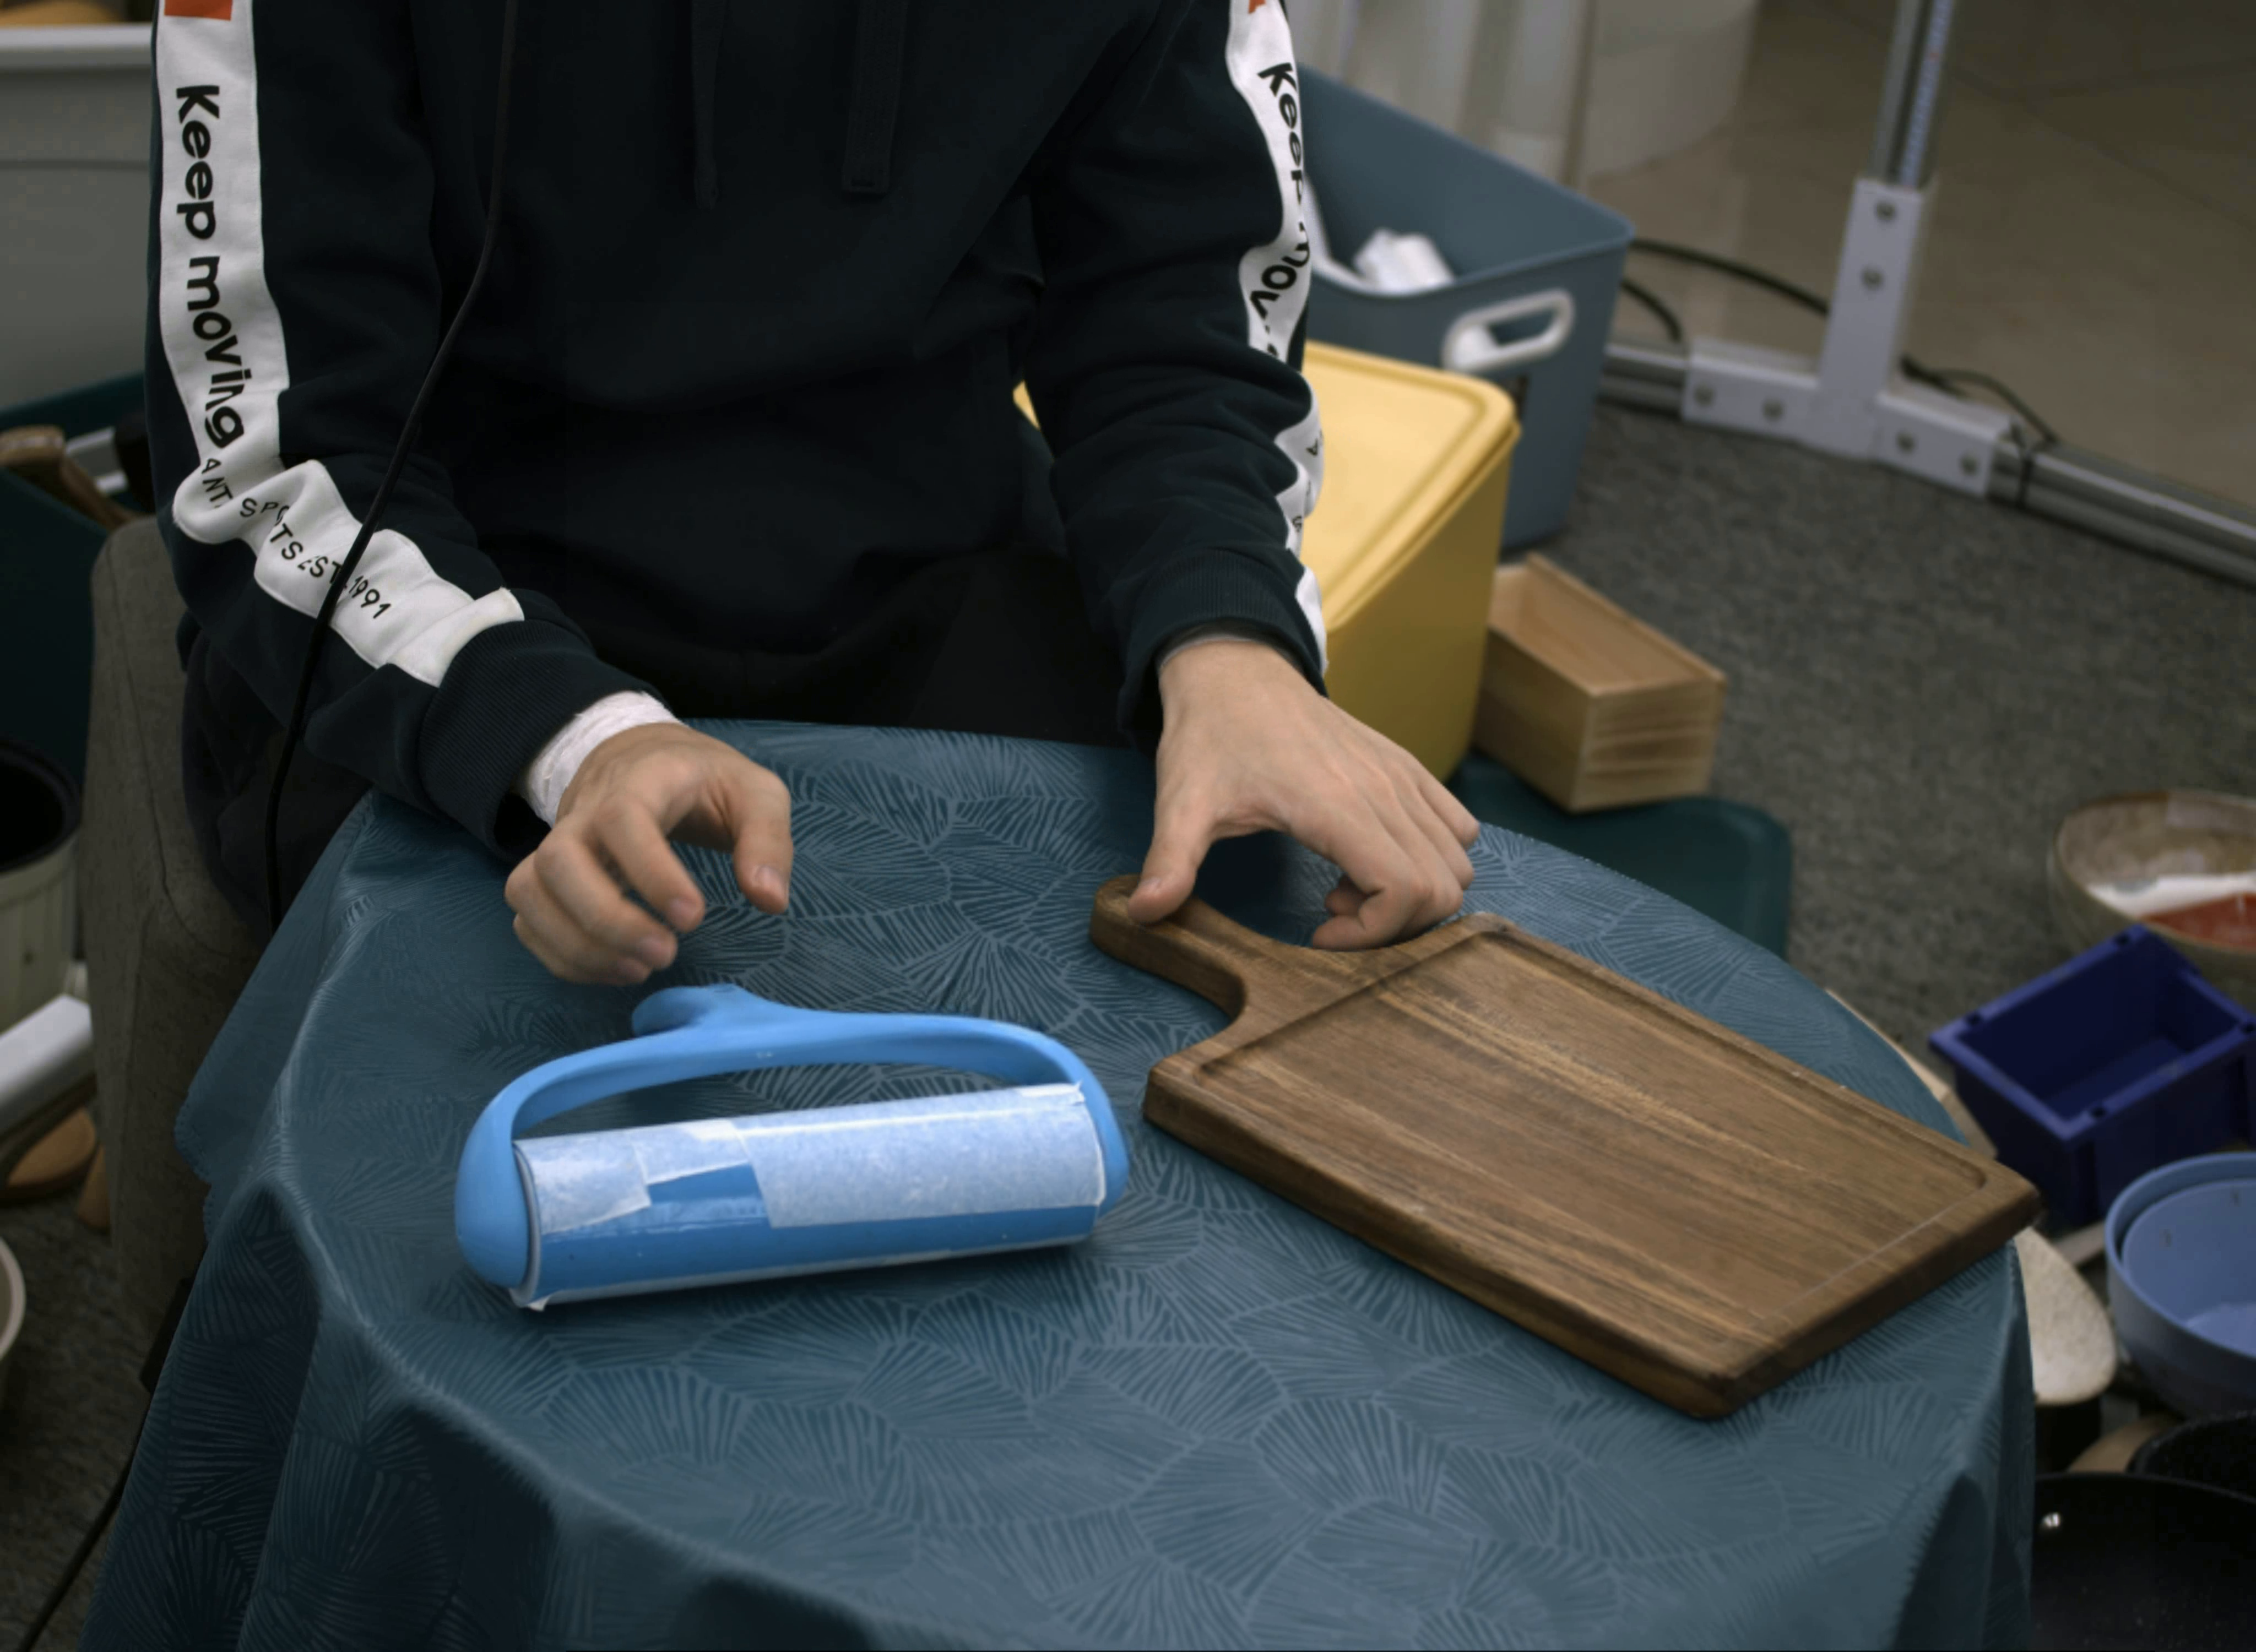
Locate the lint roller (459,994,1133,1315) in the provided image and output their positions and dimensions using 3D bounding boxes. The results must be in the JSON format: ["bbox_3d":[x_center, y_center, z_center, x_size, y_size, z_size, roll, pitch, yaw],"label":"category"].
[{"bbox_3d":[-0.129,0.091,1.770,0.227,0.067,0.182,-8,31,-23],"label":"lint roller"}]

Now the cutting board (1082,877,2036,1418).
[{"bbox_3d":[0.122,0.093,1.862,0.354,0.023,0.200,26,32,34],"label":"cutting board"}]
